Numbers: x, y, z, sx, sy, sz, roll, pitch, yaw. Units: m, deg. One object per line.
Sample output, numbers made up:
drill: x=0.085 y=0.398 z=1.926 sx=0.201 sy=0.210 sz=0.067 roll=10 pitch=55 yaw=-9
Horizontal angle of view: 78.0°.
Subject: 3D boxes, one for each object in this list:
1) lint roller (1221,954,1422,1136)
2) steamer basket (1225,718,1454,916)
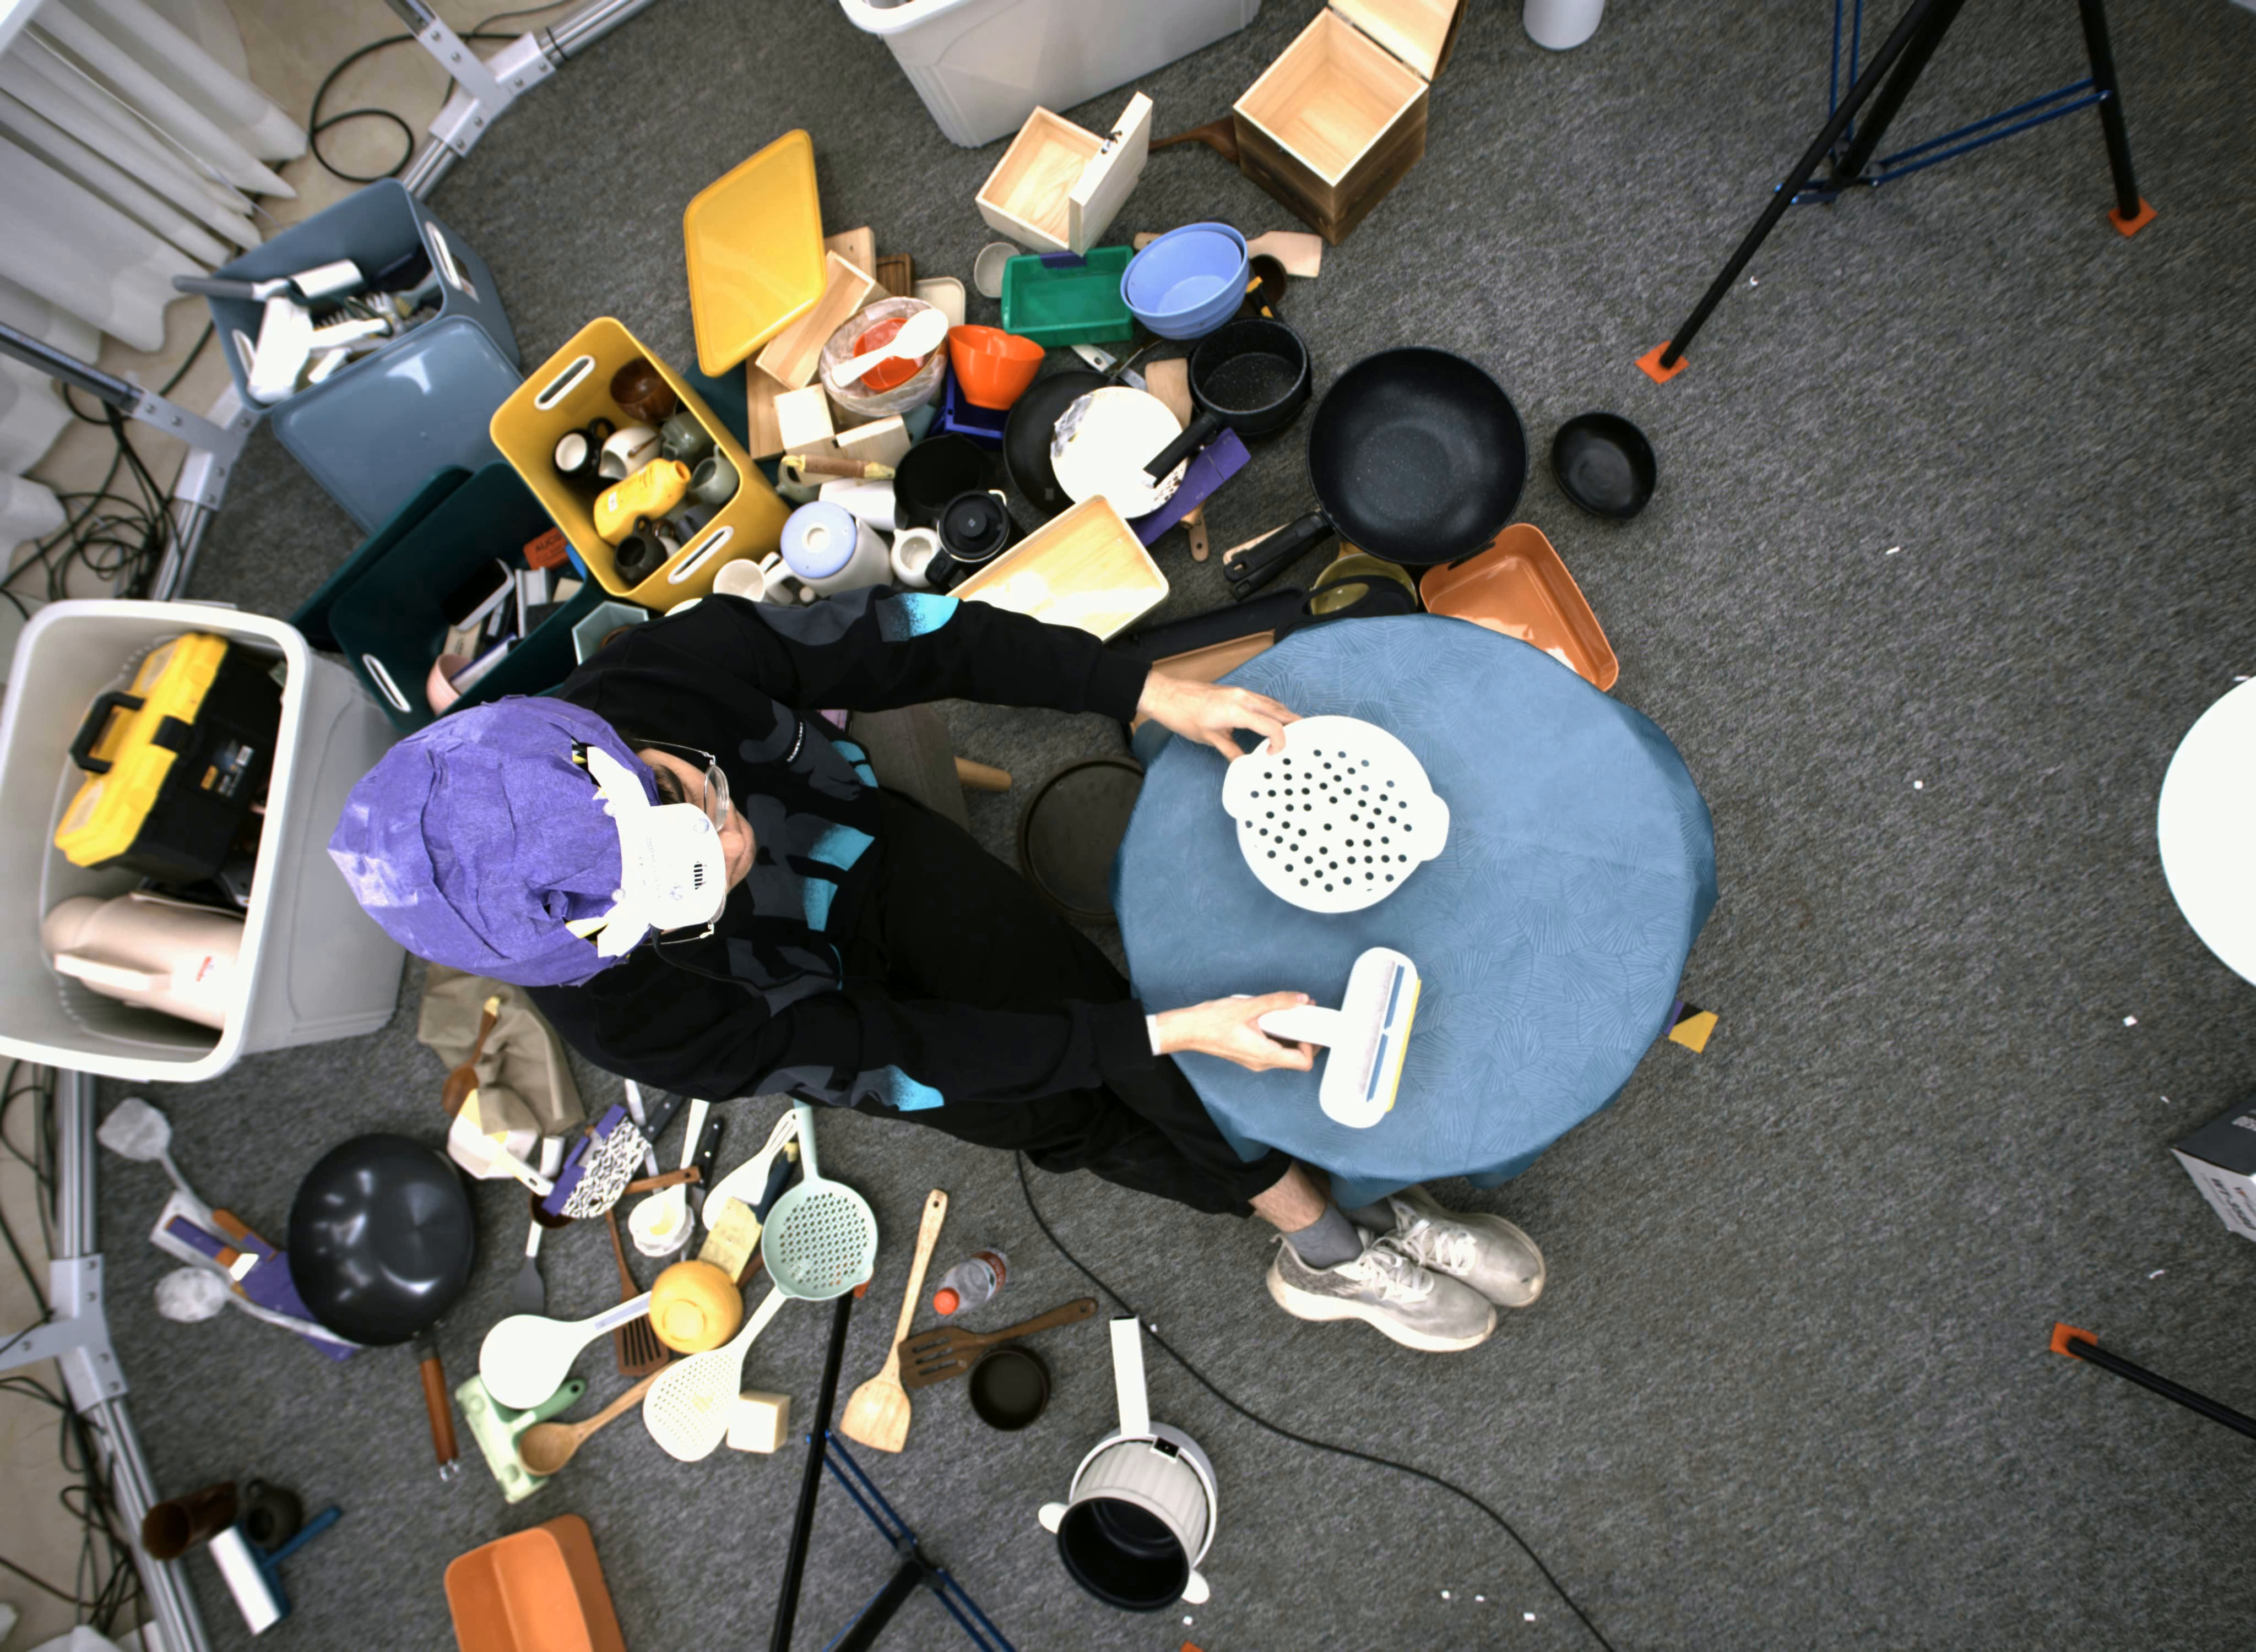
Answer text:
lint roller: x=0.187 y=0.202 z=1.406 sx=0.192 sy=0.075 sz=0.189 roll=19 pitch=68 yaw=9
steamer basket: x=0.214 y=-0.009 z=1.417 sx=0.231 sy=0.070 sz=0.199 roll=12 pitch=73 yaw=7
